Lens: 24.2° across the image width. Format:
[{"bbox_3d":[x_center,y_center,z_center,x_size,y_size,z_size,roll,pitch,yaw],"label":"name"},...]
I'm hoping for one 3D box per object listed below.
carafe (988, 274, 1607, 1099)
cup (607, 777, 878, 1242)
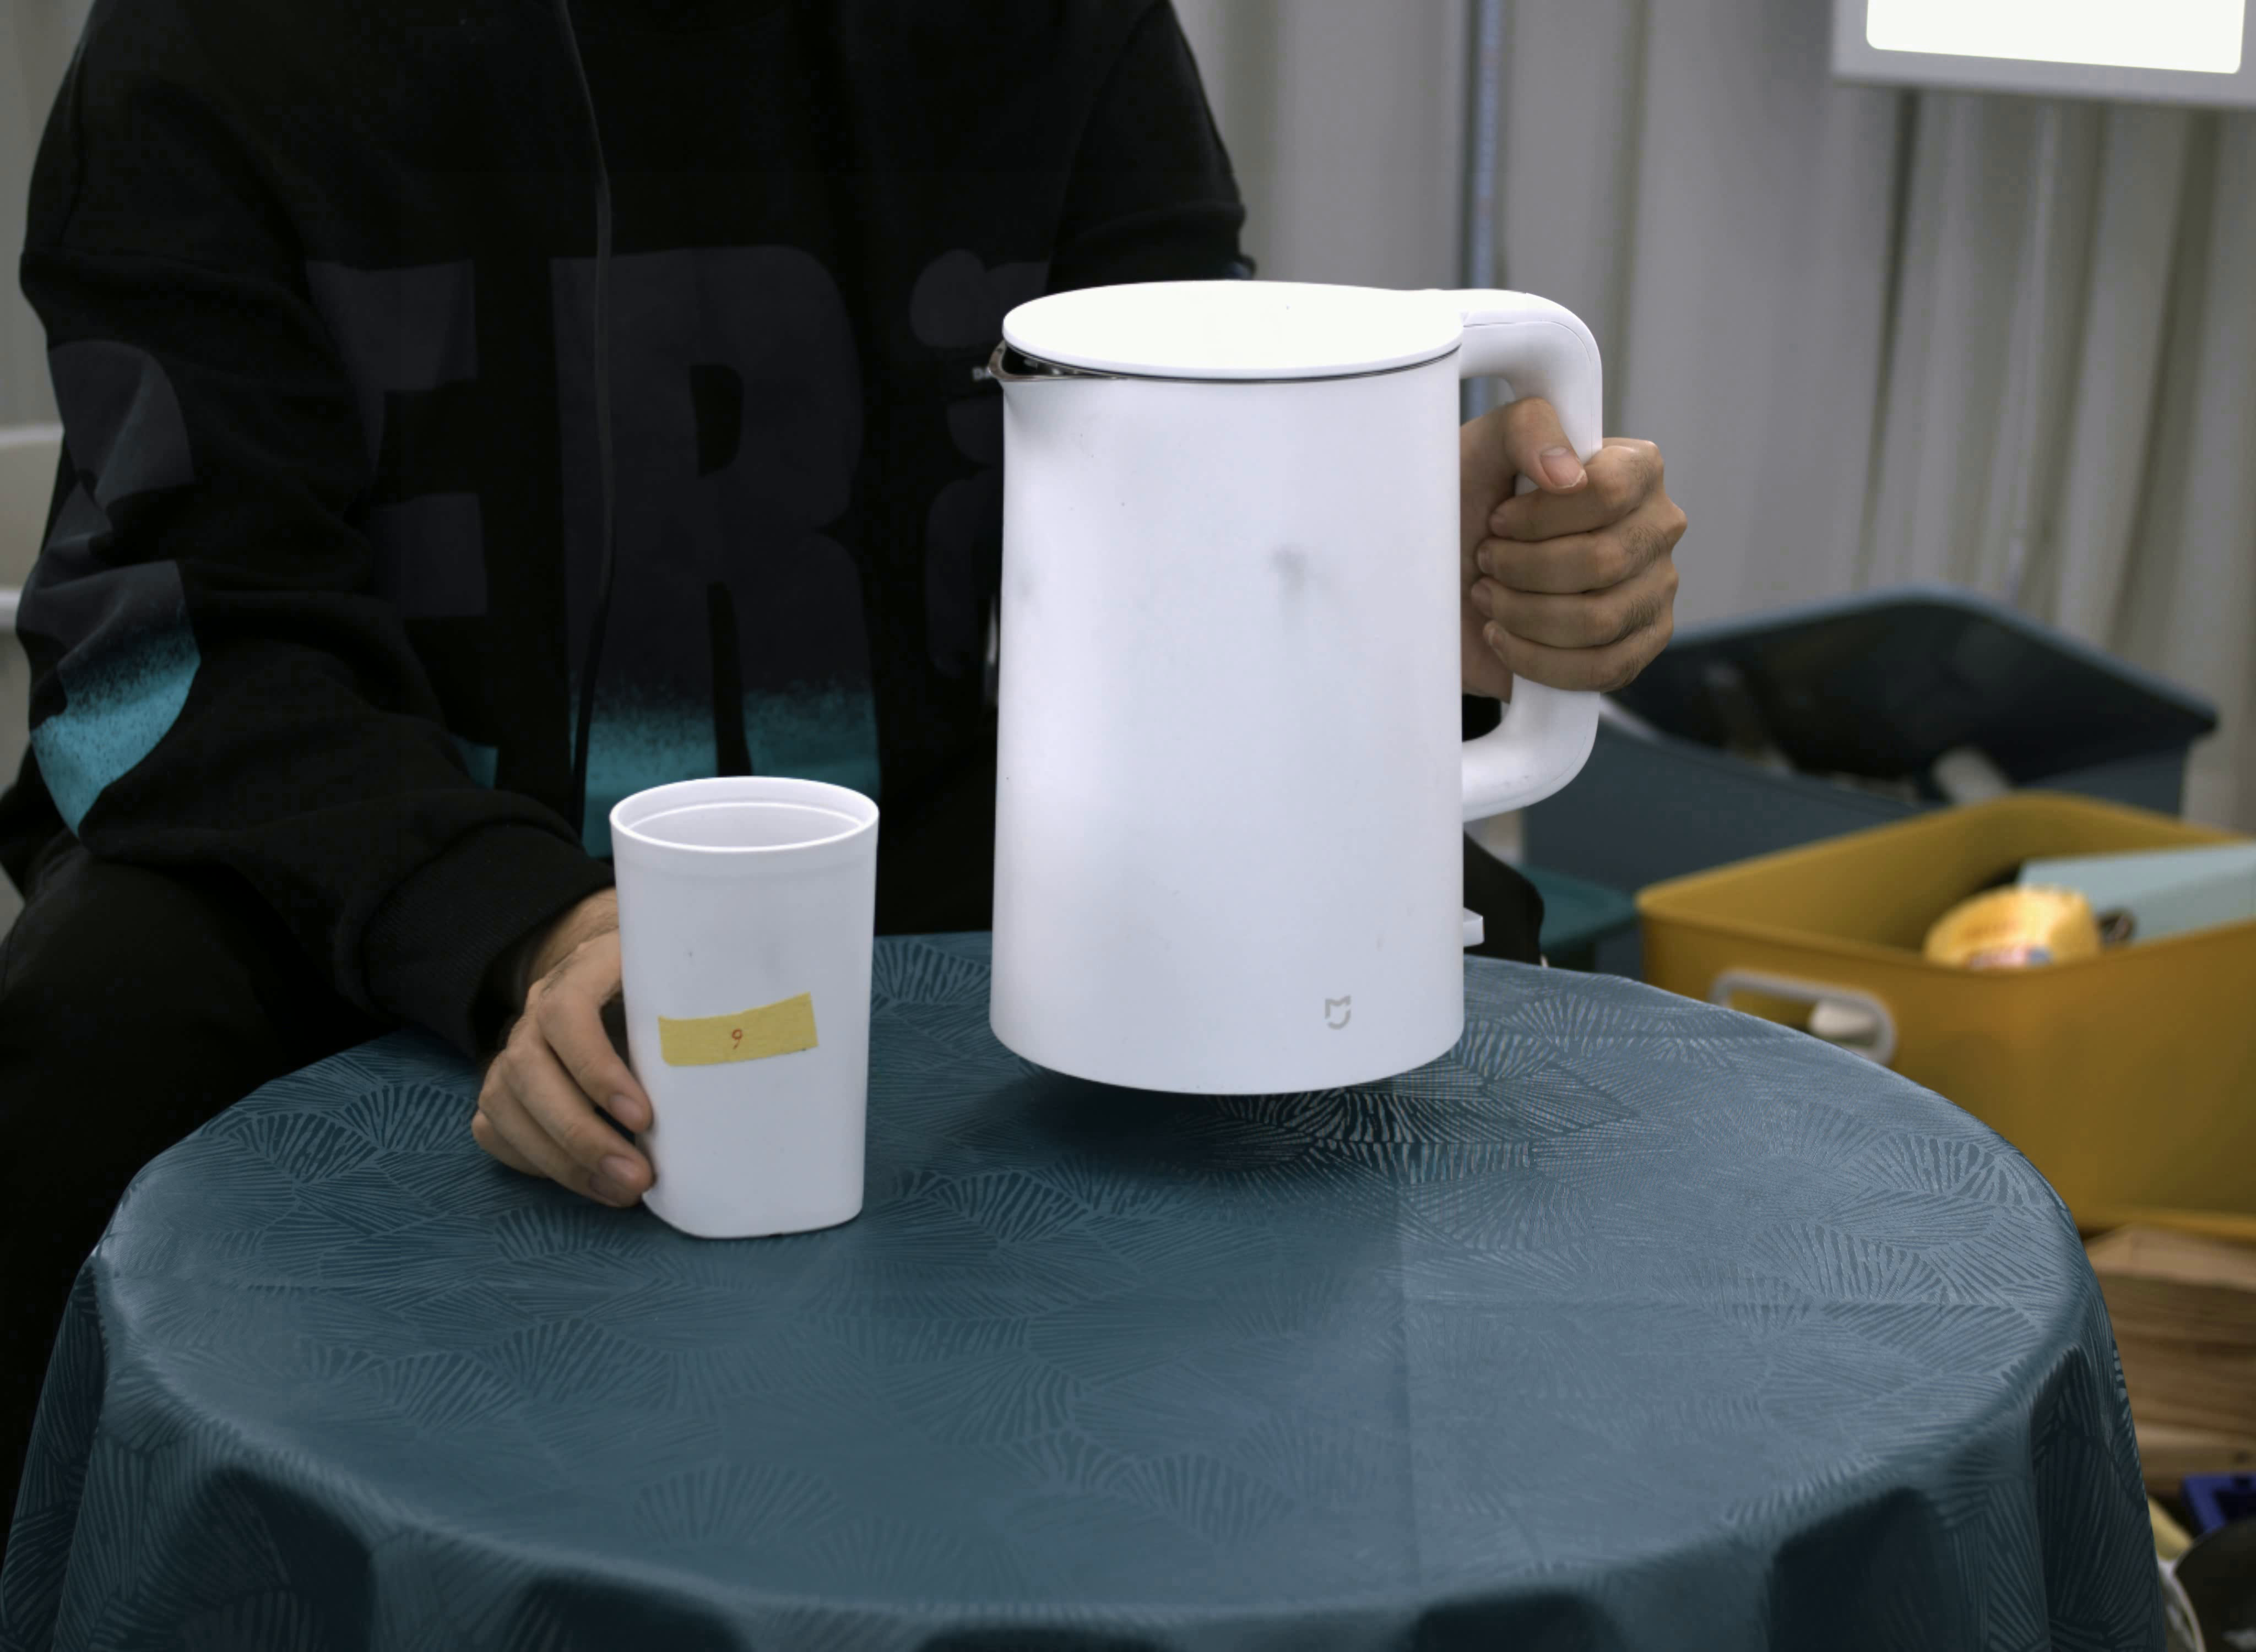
[{"bbox_3d":[0.056,-0.050,1.663,0.214,0.242,0.150,-9,19,-27],"label":"carafe"},{"bbox_3d":[-0.115,0.056,1.588,0.081,0.126,0.081,1,15,0],"label":"cup"}]
